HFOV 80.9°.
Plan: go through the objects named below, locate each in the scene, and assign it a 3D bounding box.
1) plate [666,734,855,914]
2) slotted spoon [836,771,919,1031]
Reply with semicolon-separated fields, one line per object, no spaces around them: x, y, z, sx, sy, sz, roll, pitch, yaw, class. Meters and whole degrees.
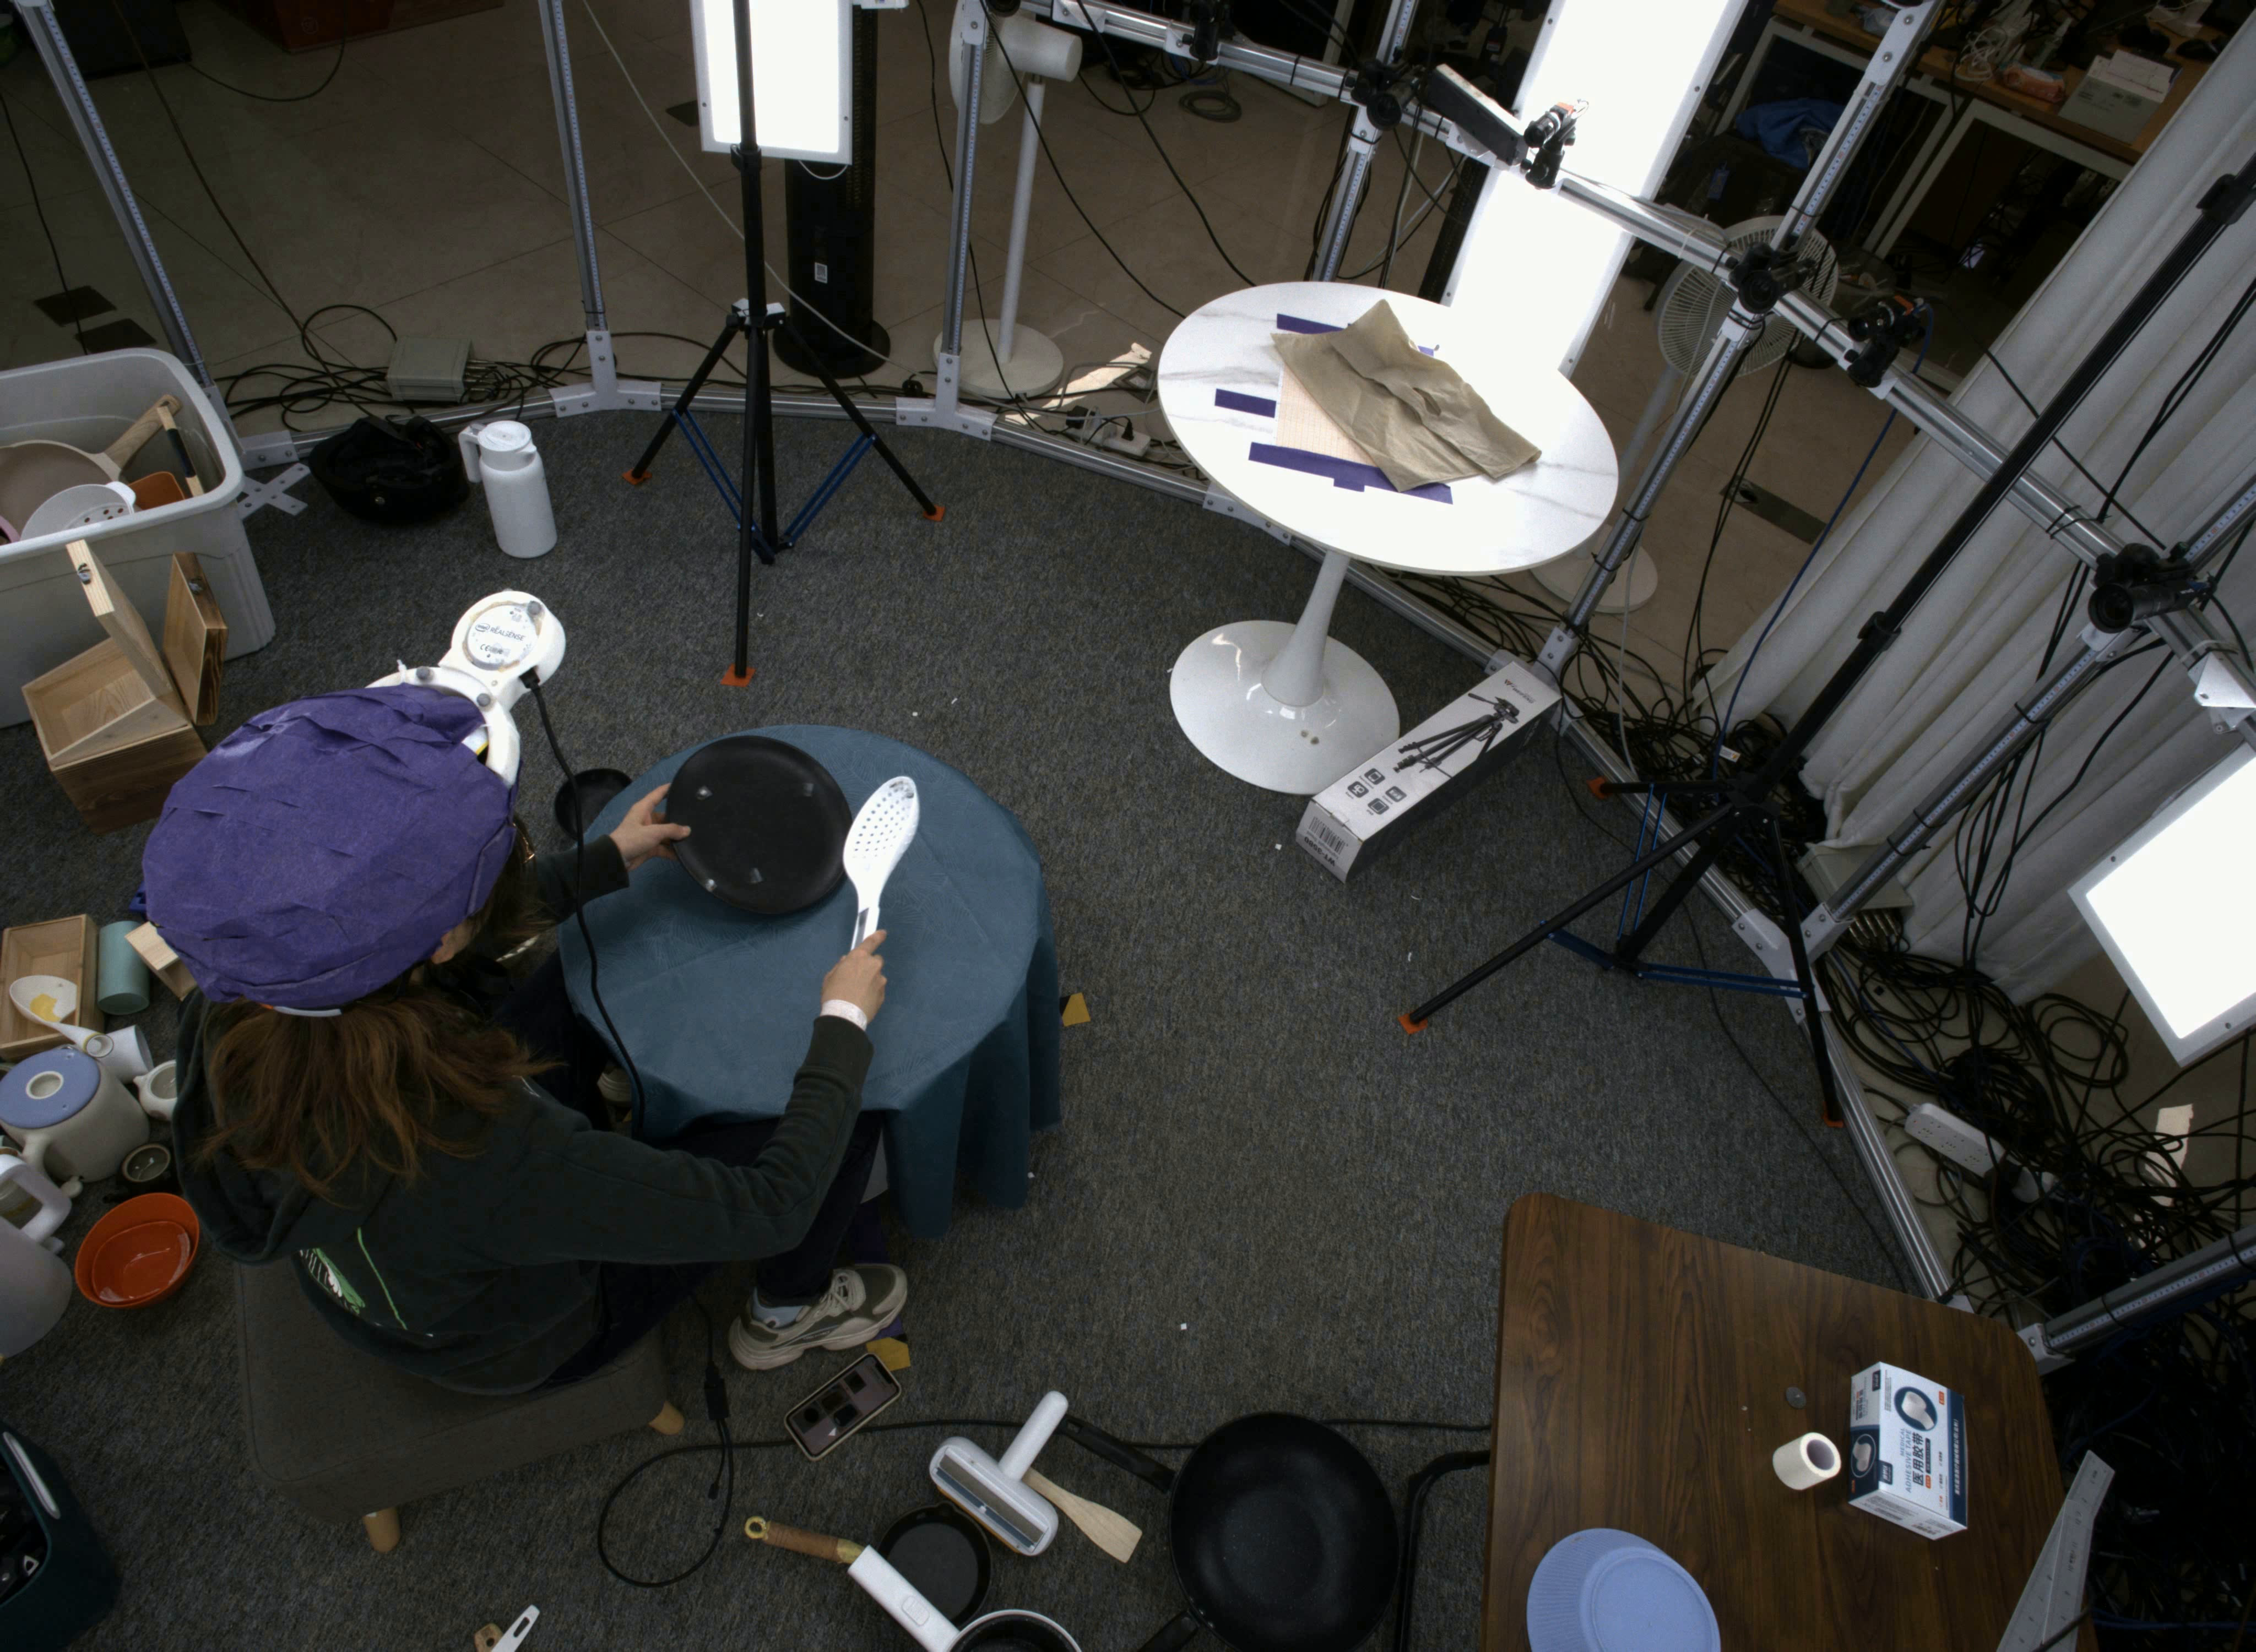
-0.468;-0.002;1.649;0.249;0.023;0.242;17;61;-29;plate
-0.301;0.081;1.522;0.047;0.134;0.344;36;42;-30;slotted spoon
